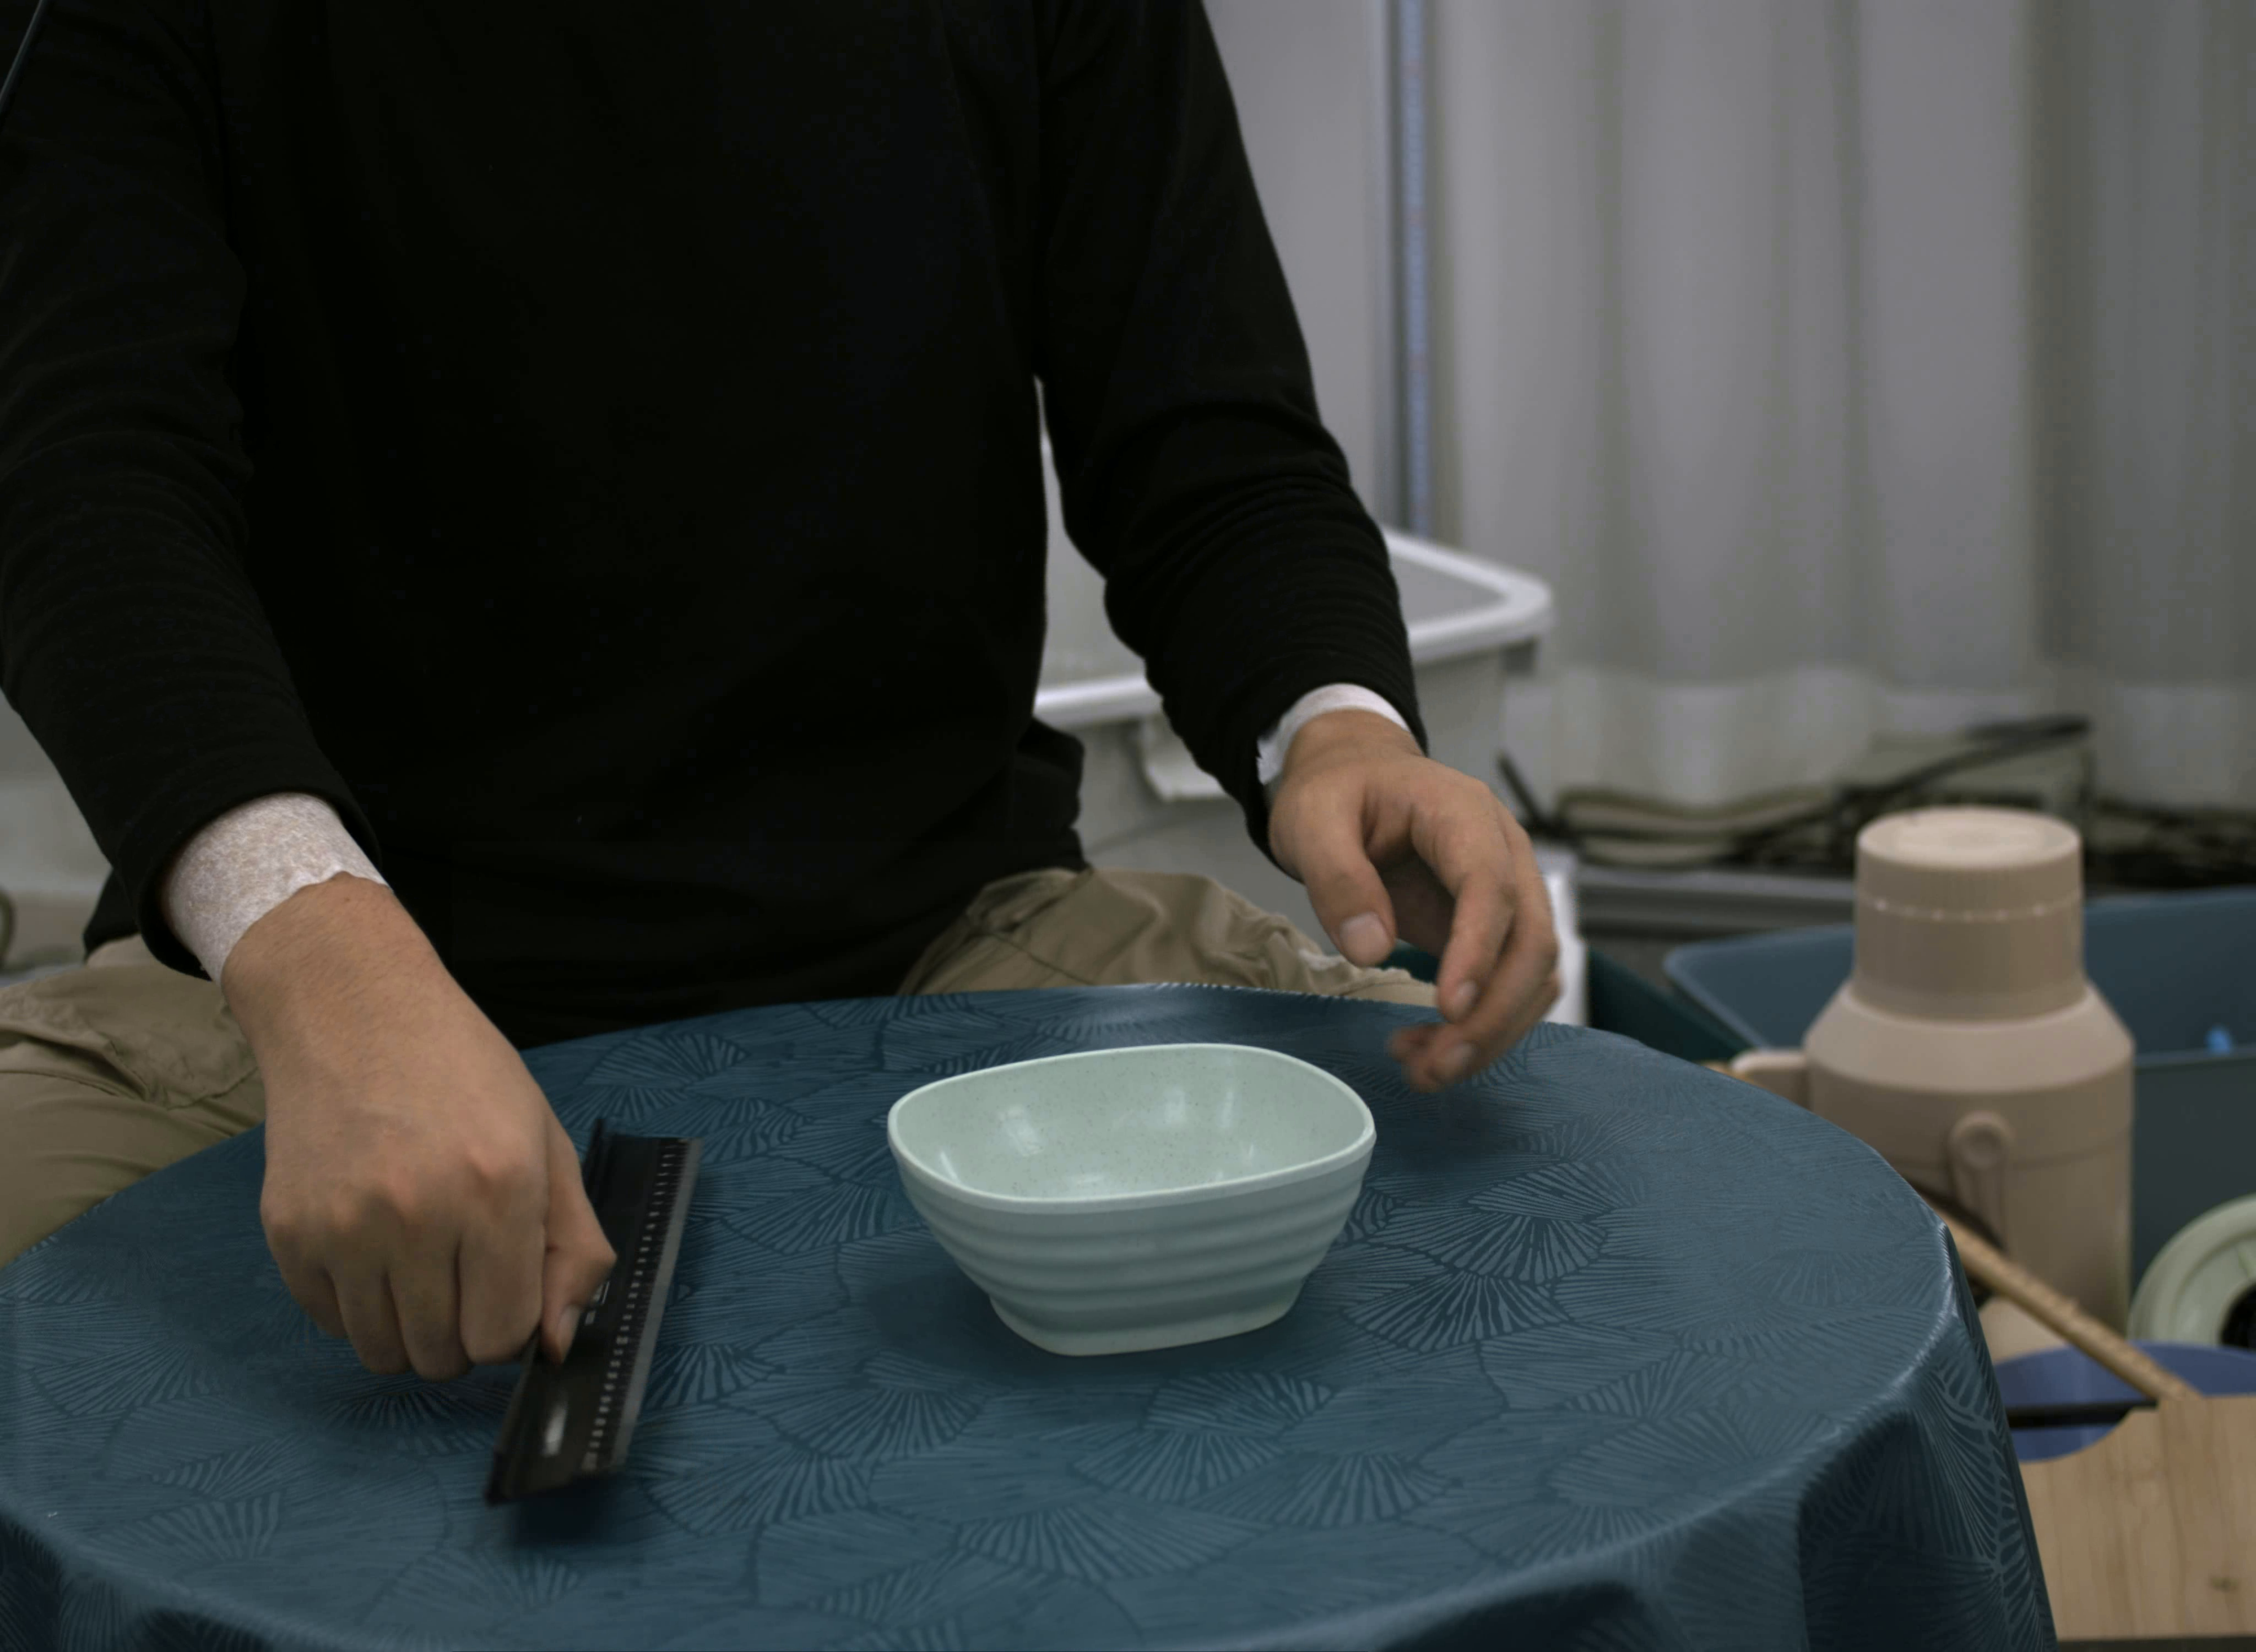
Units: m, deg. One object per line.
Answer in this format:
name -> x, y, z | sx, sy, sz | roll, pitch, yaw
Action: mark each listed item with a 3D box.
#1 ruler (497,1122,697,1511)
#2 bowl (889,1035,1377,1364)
ruler -> -0.154, 0.135, 1.598 | 0.039, 0.017, 0.314 | -10, 14, 1
bowl -> 0.002, 0.113, 1.610 | 0.151, 0.058, 0.152 | -3, 17, 1
